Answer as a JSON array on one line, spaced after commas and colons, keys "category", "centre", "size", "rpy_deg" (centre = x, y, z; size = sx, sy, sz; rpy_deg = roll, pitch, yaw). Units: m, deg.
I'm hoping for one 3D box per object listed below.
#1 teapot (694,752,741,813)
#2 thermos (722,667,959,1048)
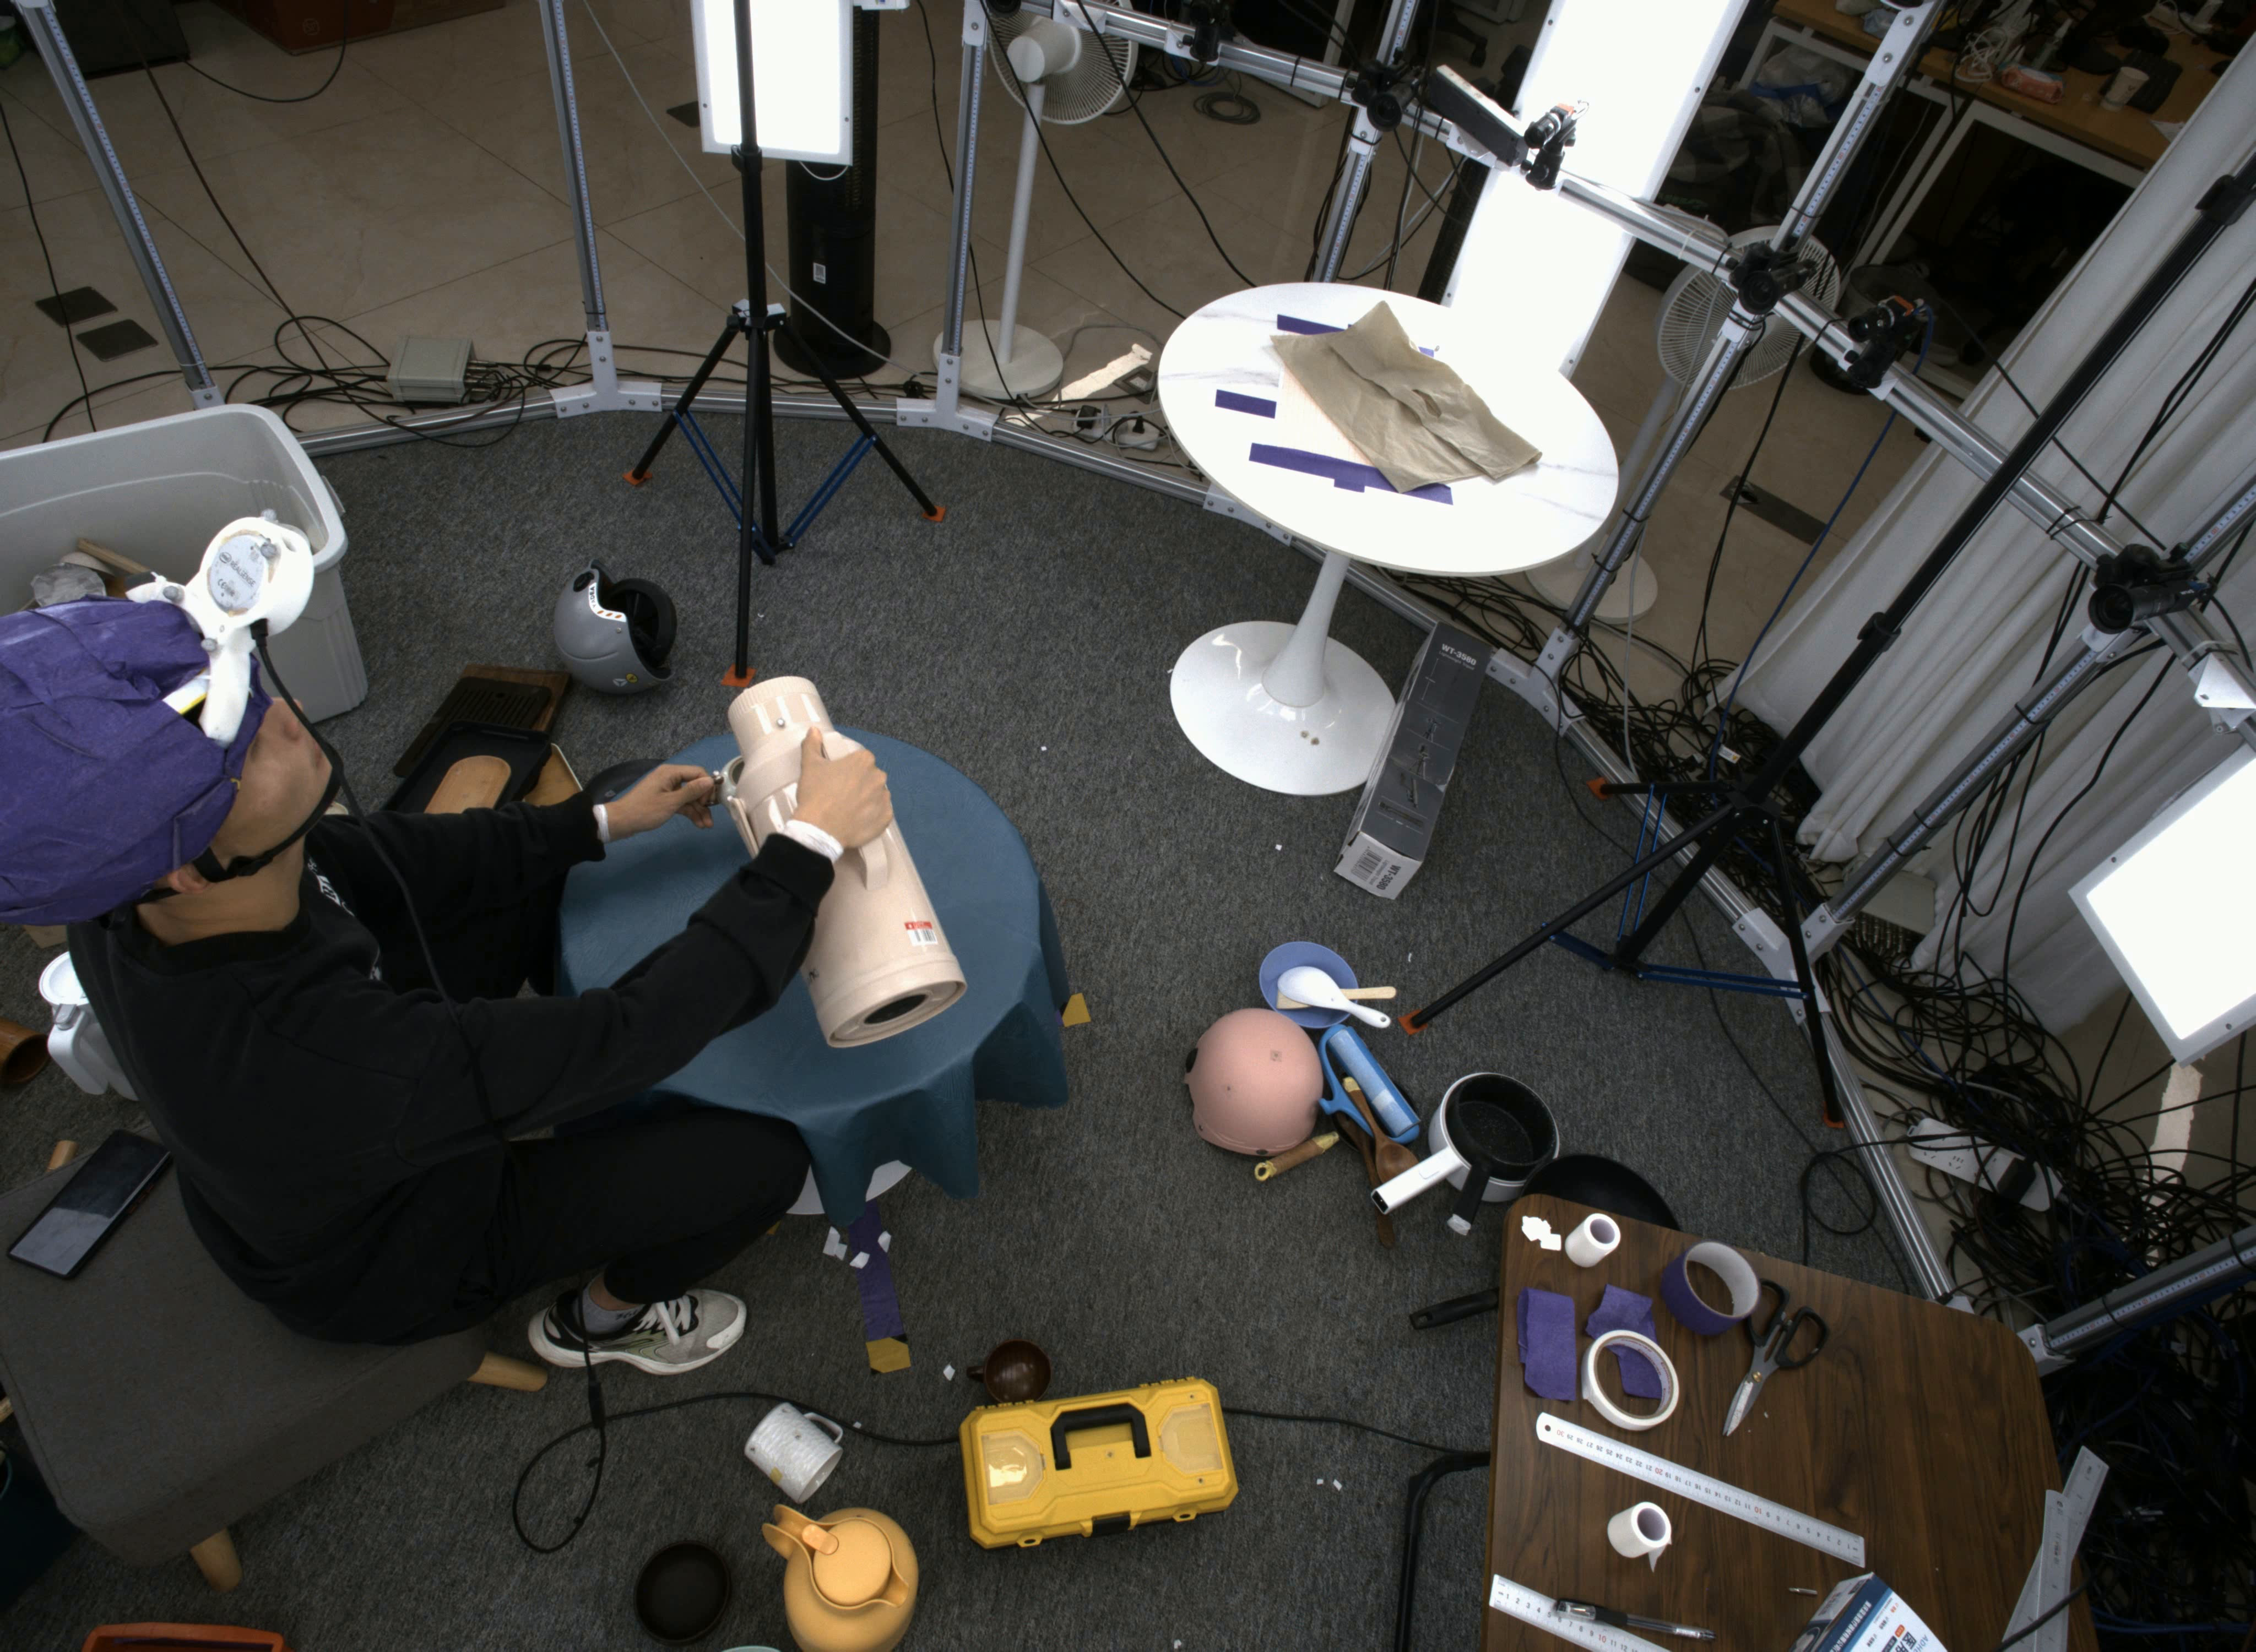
[{"category": "teapot", "centre": [-0.481, -0.051, 1.625], "size": [0.129, 0.060, 0.090], "rpy_deg": [-11, 59, -23]}, {"category": "thermos", "centre": [-0.324, 0.017, 1.401], "size": [0.177, 0.207, 0.401], "rpy_deg": [-13, 69, -34]}]
